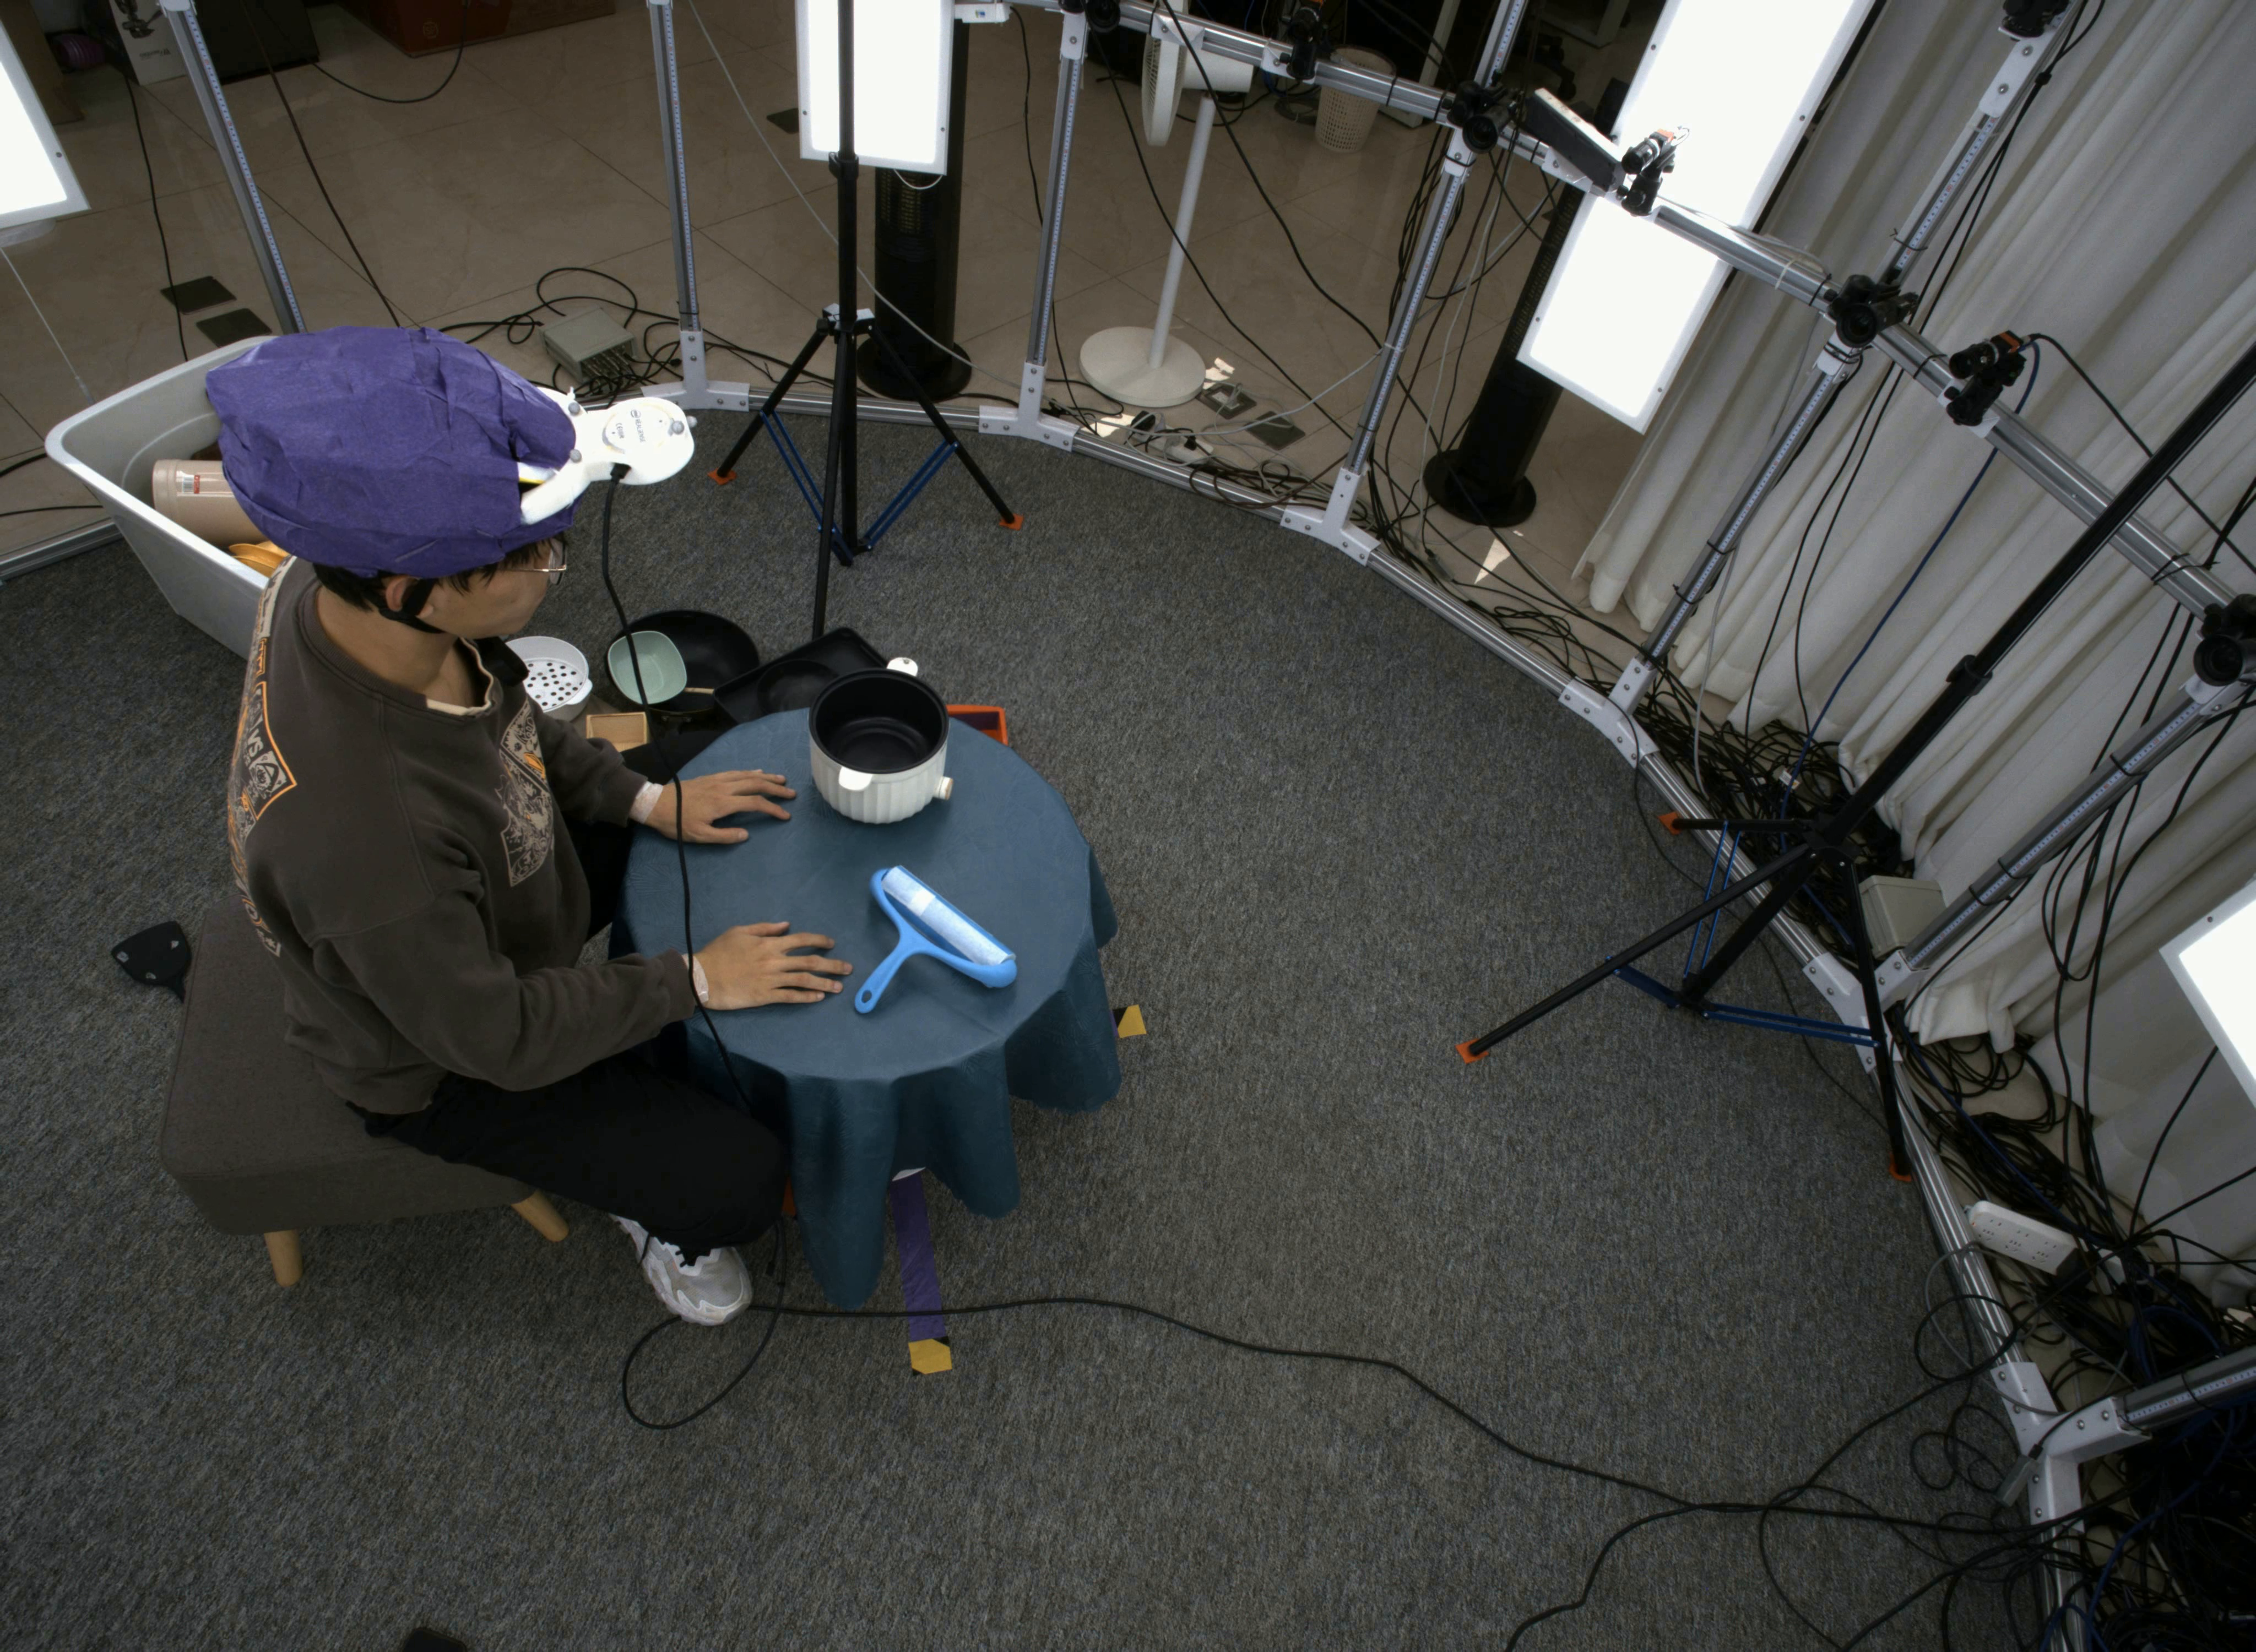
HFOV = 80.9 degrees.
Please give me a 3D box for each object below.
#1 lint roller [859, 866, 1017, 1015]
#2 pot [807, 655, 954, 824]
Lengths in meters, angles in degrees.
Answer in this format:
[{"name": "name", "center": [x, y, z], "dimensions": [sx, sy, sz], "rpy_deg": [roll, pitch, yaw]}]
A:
[{"name": "lint roller", "center": [-0.266, 0.159, 1.624], "dimensions": [0.225, 0.069, 0.180], "rpy_deg": [35, 53, 11]}, {"name": "pot", "center": [-0.330, -0.100, 1.746], "dimensions": [0.188, 0.146, 0.237], "rpy_deg": [12, 53, 1]}]
